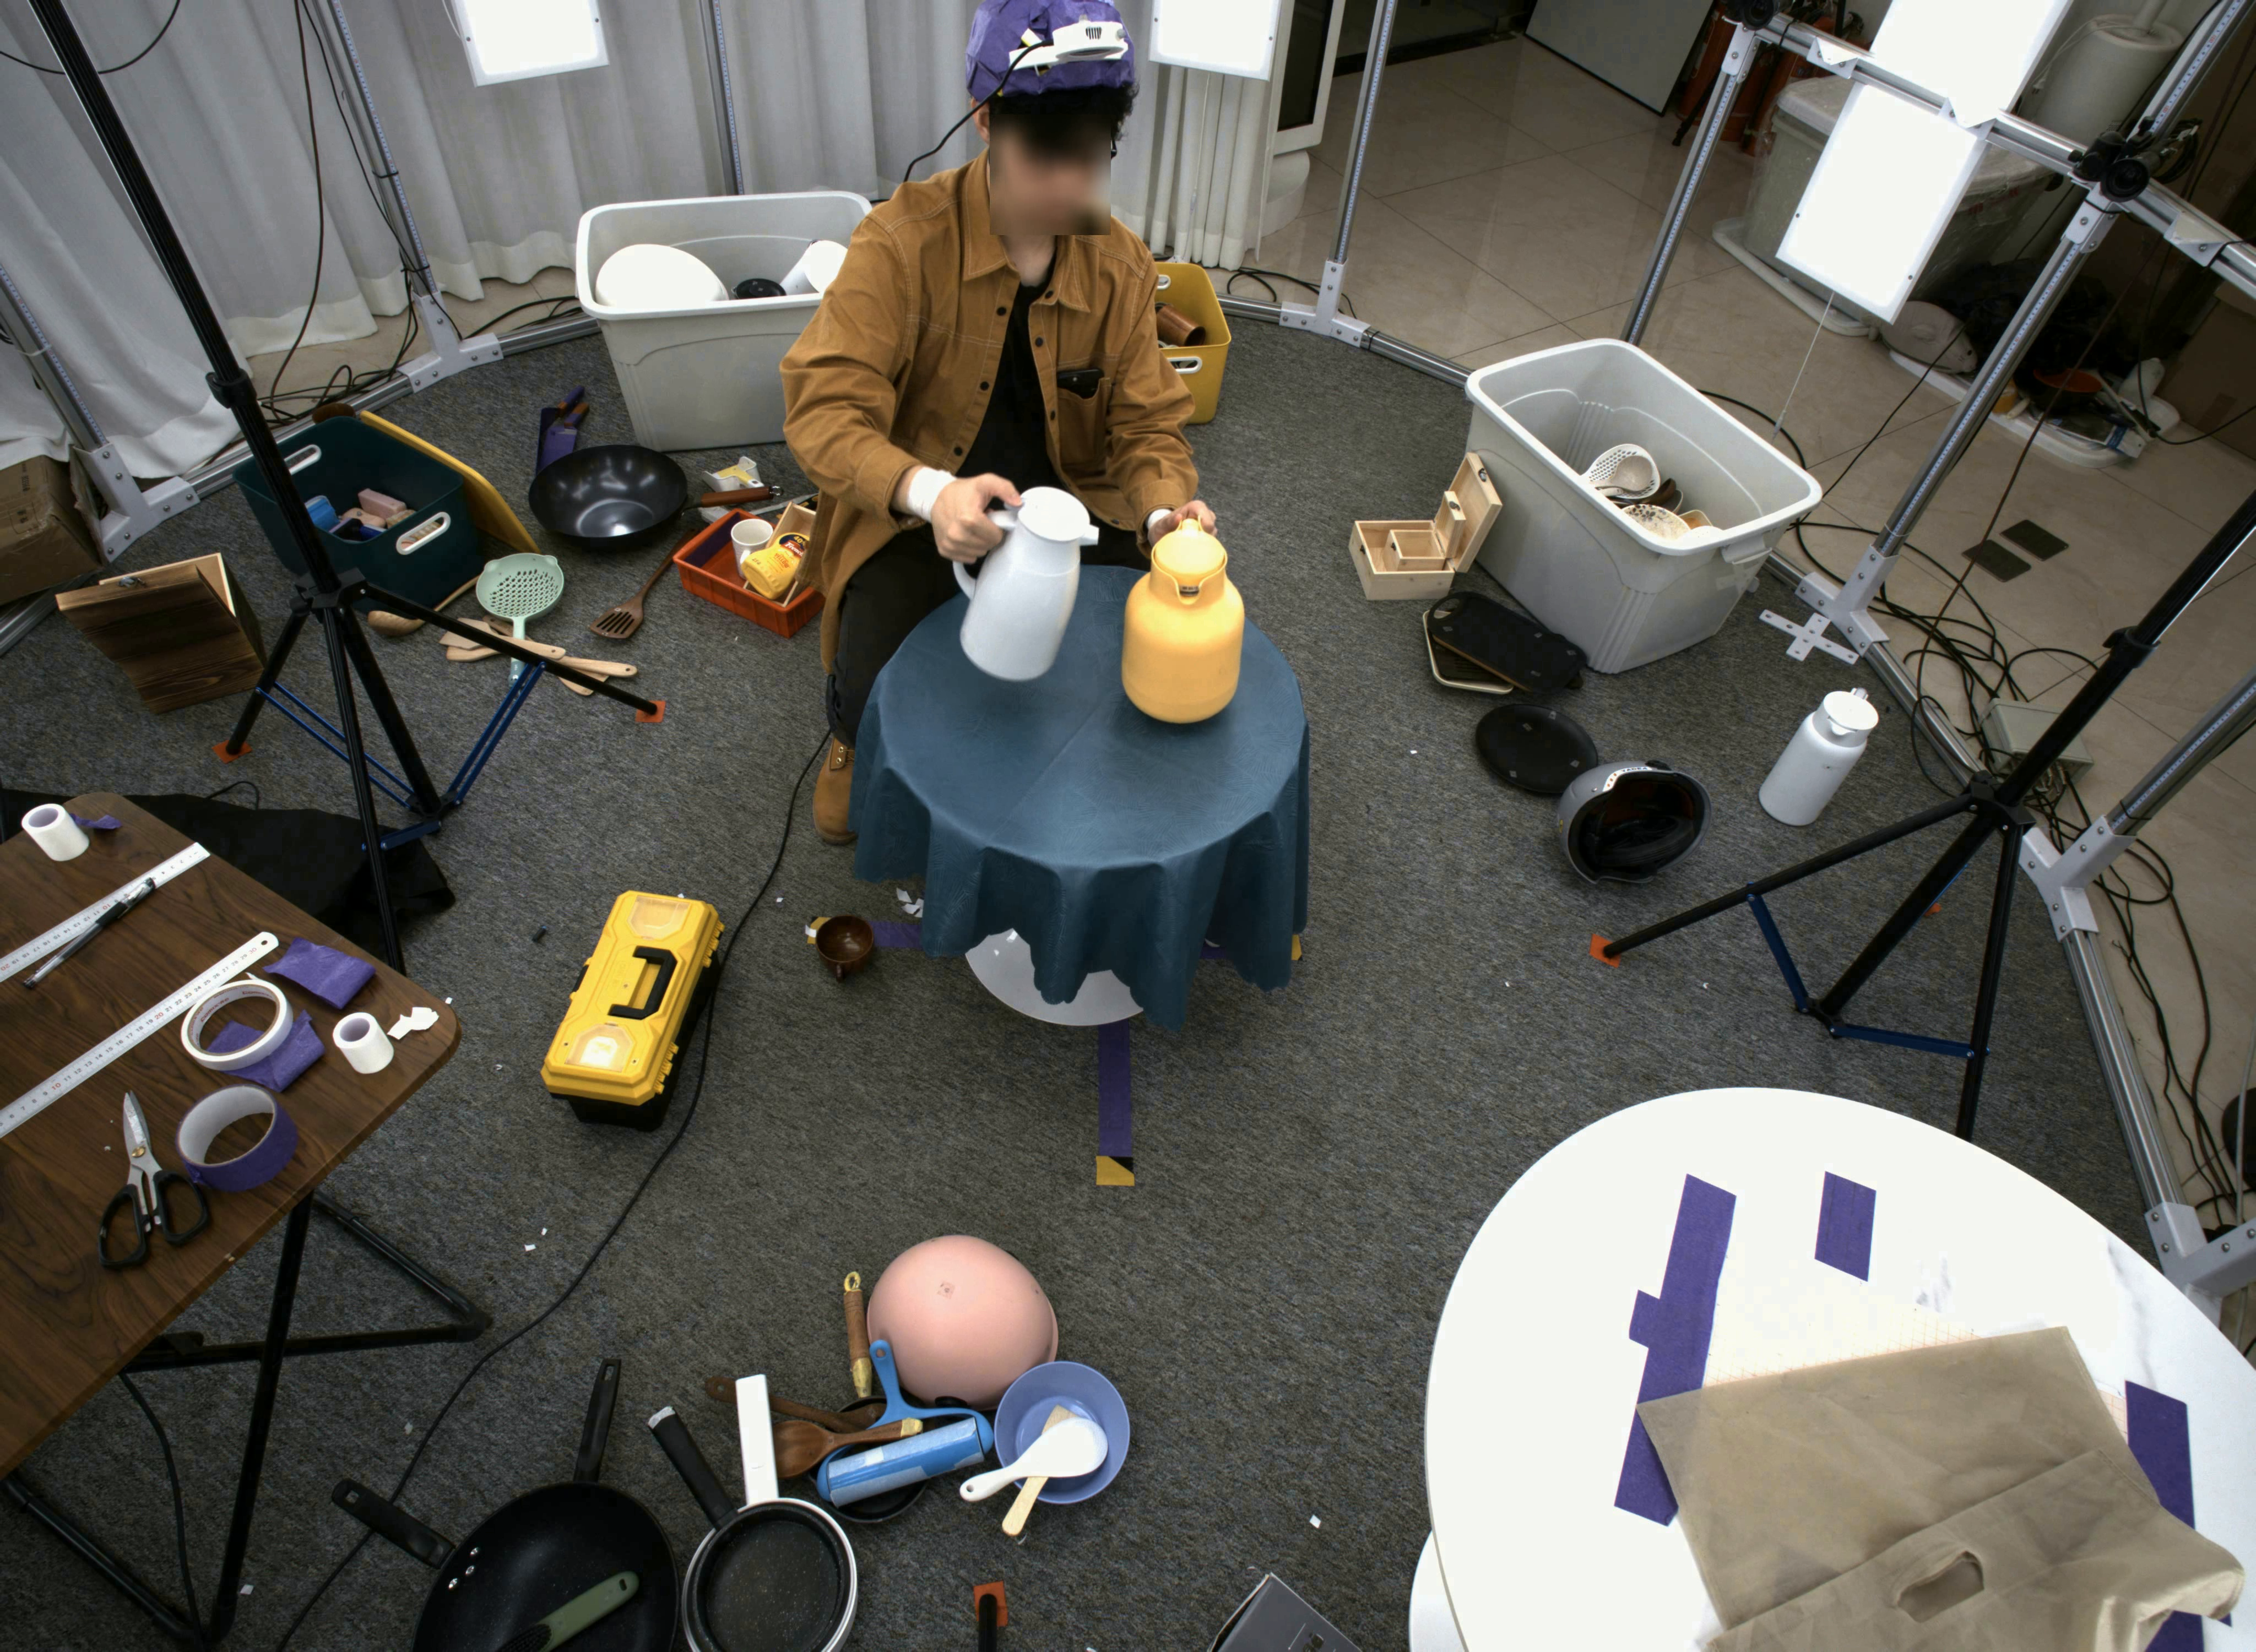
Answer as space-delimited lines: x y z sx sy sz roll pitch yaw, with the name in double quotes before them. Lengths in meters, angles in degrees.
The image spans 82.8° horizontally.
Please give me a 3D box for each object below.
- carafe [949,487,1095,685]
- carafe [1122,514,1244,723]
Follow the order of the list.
"carafe" -0.145 -0.312 1.633 0.167 0.243 0.136 11 52 -11
"carafe" 0.078 -0.286 1.734 0.163 0.254 0.207 5 51 2
